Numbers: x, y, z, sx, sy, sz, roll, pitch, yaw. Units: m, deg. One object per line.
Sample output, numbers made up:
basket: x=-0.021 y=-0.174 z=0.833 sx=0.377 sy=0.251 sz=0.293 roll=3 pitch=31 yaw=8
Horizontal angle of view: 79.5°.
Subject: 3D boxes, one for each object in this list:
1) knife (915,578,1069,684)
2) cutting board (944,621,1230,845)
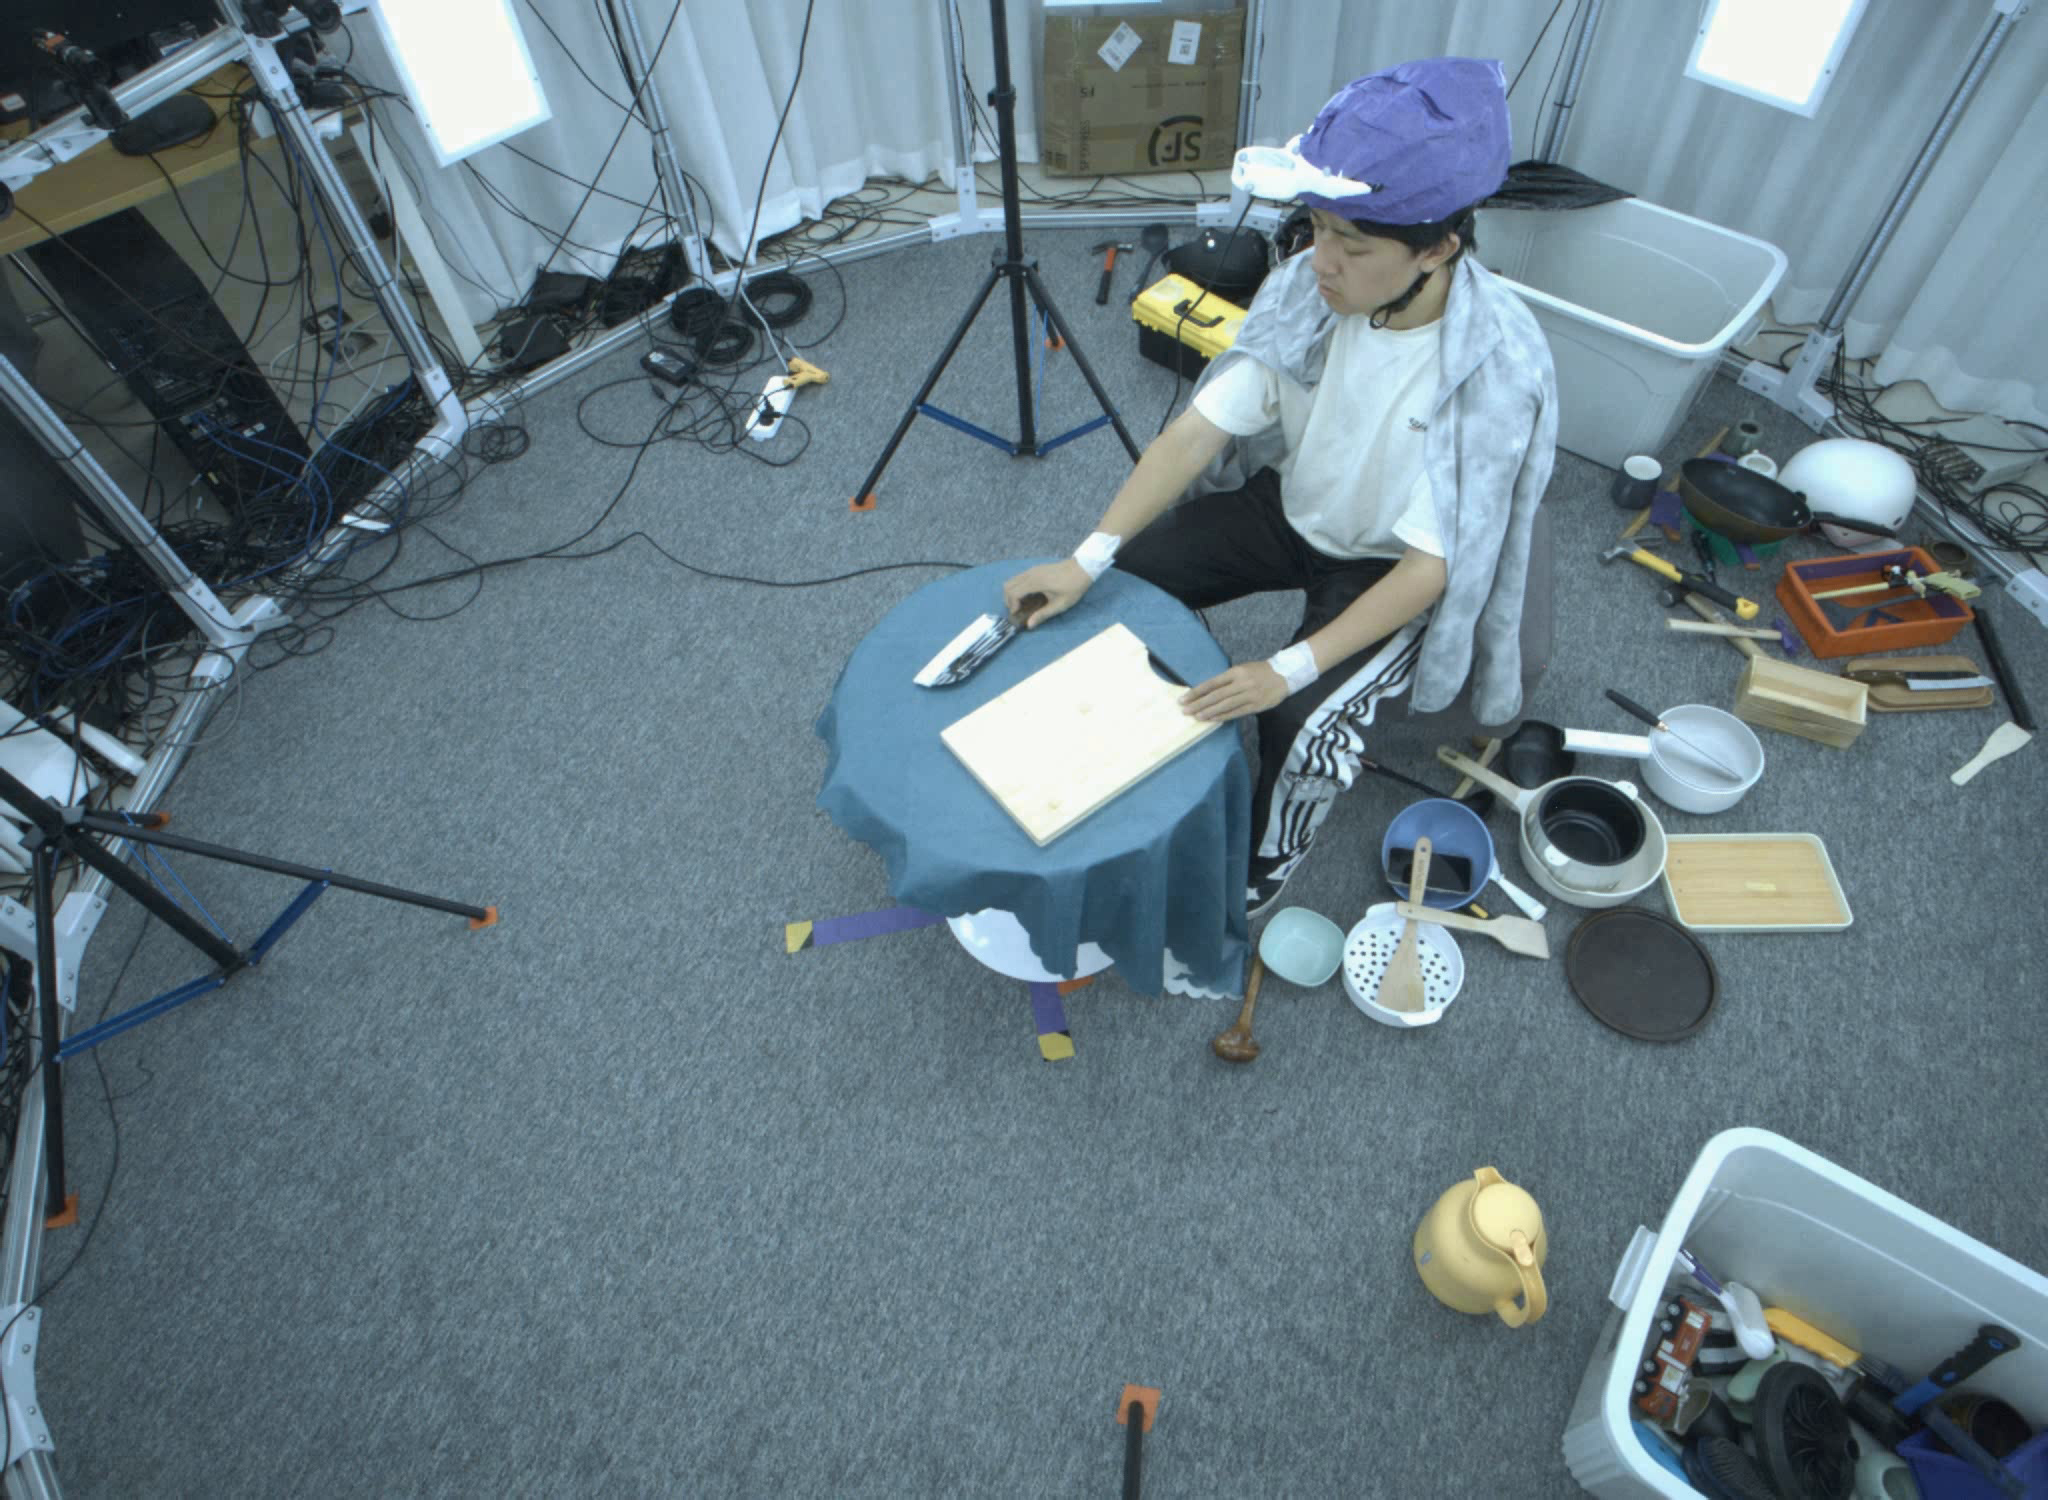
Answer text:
knife: x=-0.048 y=-0.187 z=1.909 sx=0.067 sy=0.024 sz=0.301 roll=36 pitch=63 yaw=25
cutting board: x=0.089 y=-0.035 z=1.801 sx=0.351 sy=0.024 sz=0.246 roll=-34 pitch=61 yaw=-20
